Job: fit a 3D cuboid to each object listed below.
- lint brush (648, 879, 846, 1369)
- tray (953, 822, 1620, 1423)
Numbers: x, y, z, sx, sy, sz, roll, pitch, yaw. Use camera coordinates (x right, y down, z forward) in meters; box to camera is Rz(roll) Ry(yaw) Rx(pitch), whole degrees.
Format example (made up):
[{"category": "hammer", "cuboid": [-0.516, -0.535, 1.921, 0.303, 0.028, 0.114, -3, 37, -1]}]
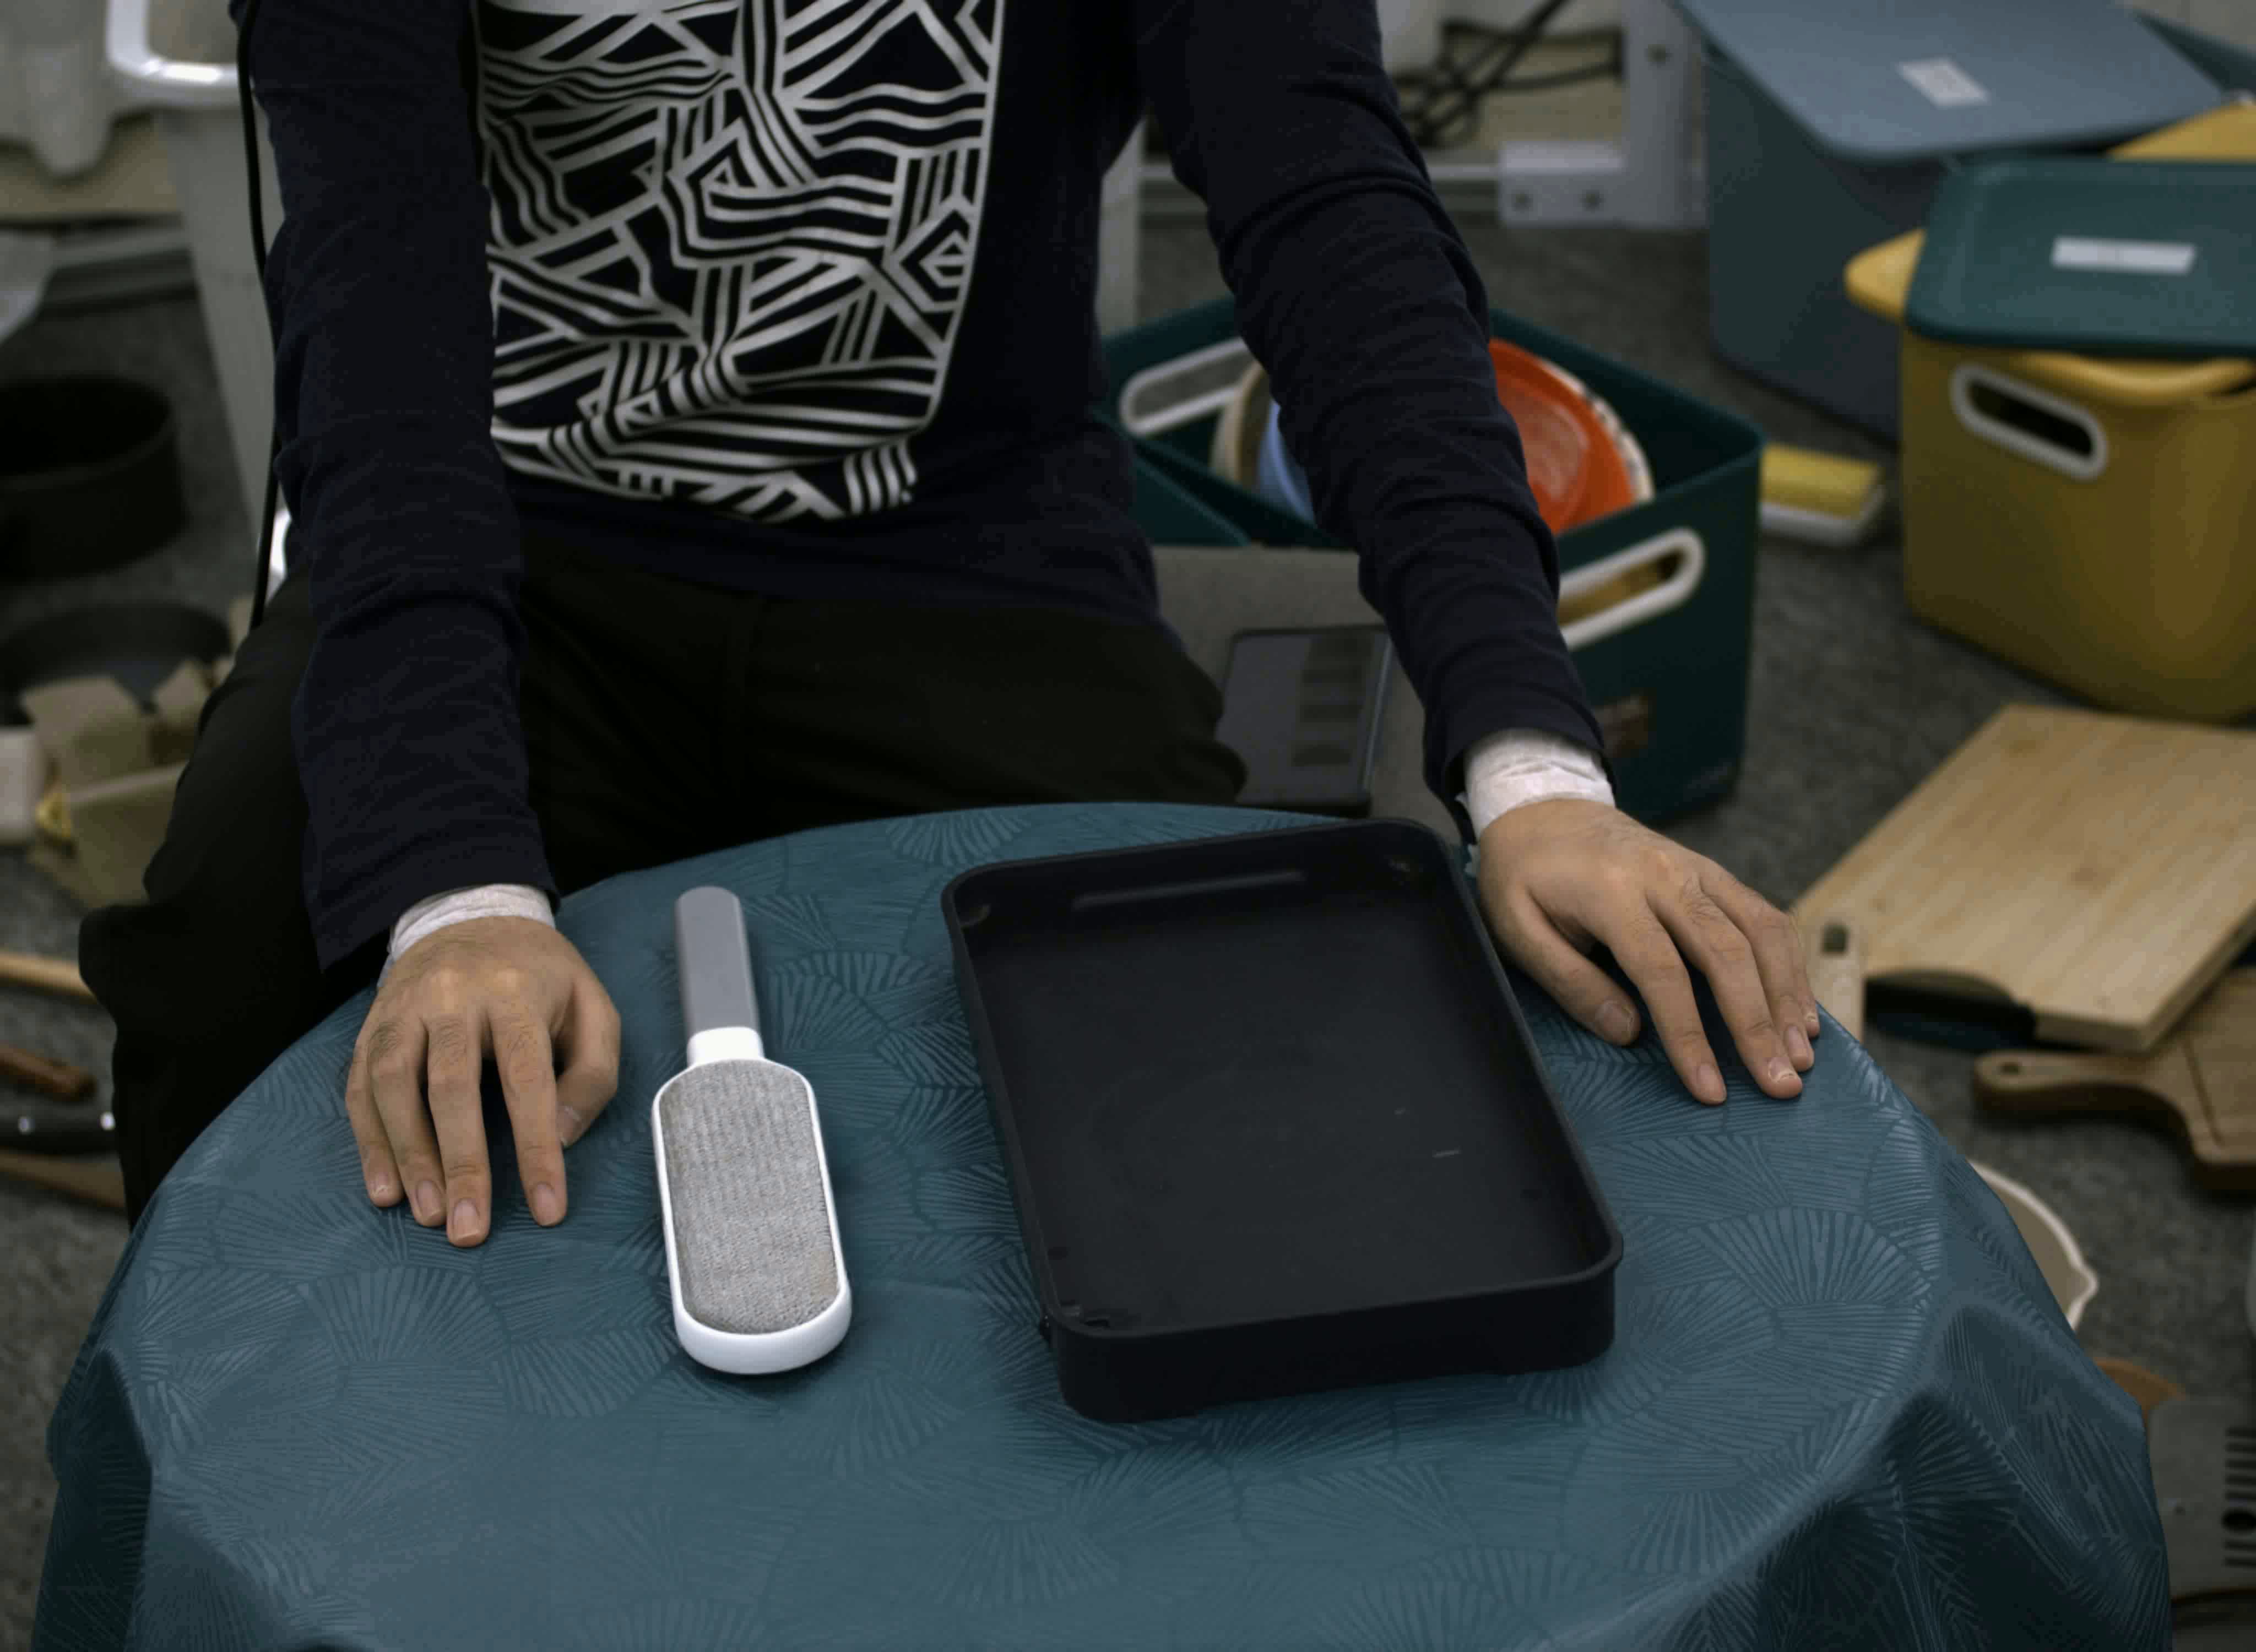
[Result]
[{"category": "lint brush", "cuboid": [-0.132, 0.095, 1.896, 0.060, 0.021, 0.313, -10, 28, -3]}, {"category": "tray", "cuboid": [0.046, 0.093, 1.876, 0.184, 0.036, 0.322, -5, 27, -5]}]
